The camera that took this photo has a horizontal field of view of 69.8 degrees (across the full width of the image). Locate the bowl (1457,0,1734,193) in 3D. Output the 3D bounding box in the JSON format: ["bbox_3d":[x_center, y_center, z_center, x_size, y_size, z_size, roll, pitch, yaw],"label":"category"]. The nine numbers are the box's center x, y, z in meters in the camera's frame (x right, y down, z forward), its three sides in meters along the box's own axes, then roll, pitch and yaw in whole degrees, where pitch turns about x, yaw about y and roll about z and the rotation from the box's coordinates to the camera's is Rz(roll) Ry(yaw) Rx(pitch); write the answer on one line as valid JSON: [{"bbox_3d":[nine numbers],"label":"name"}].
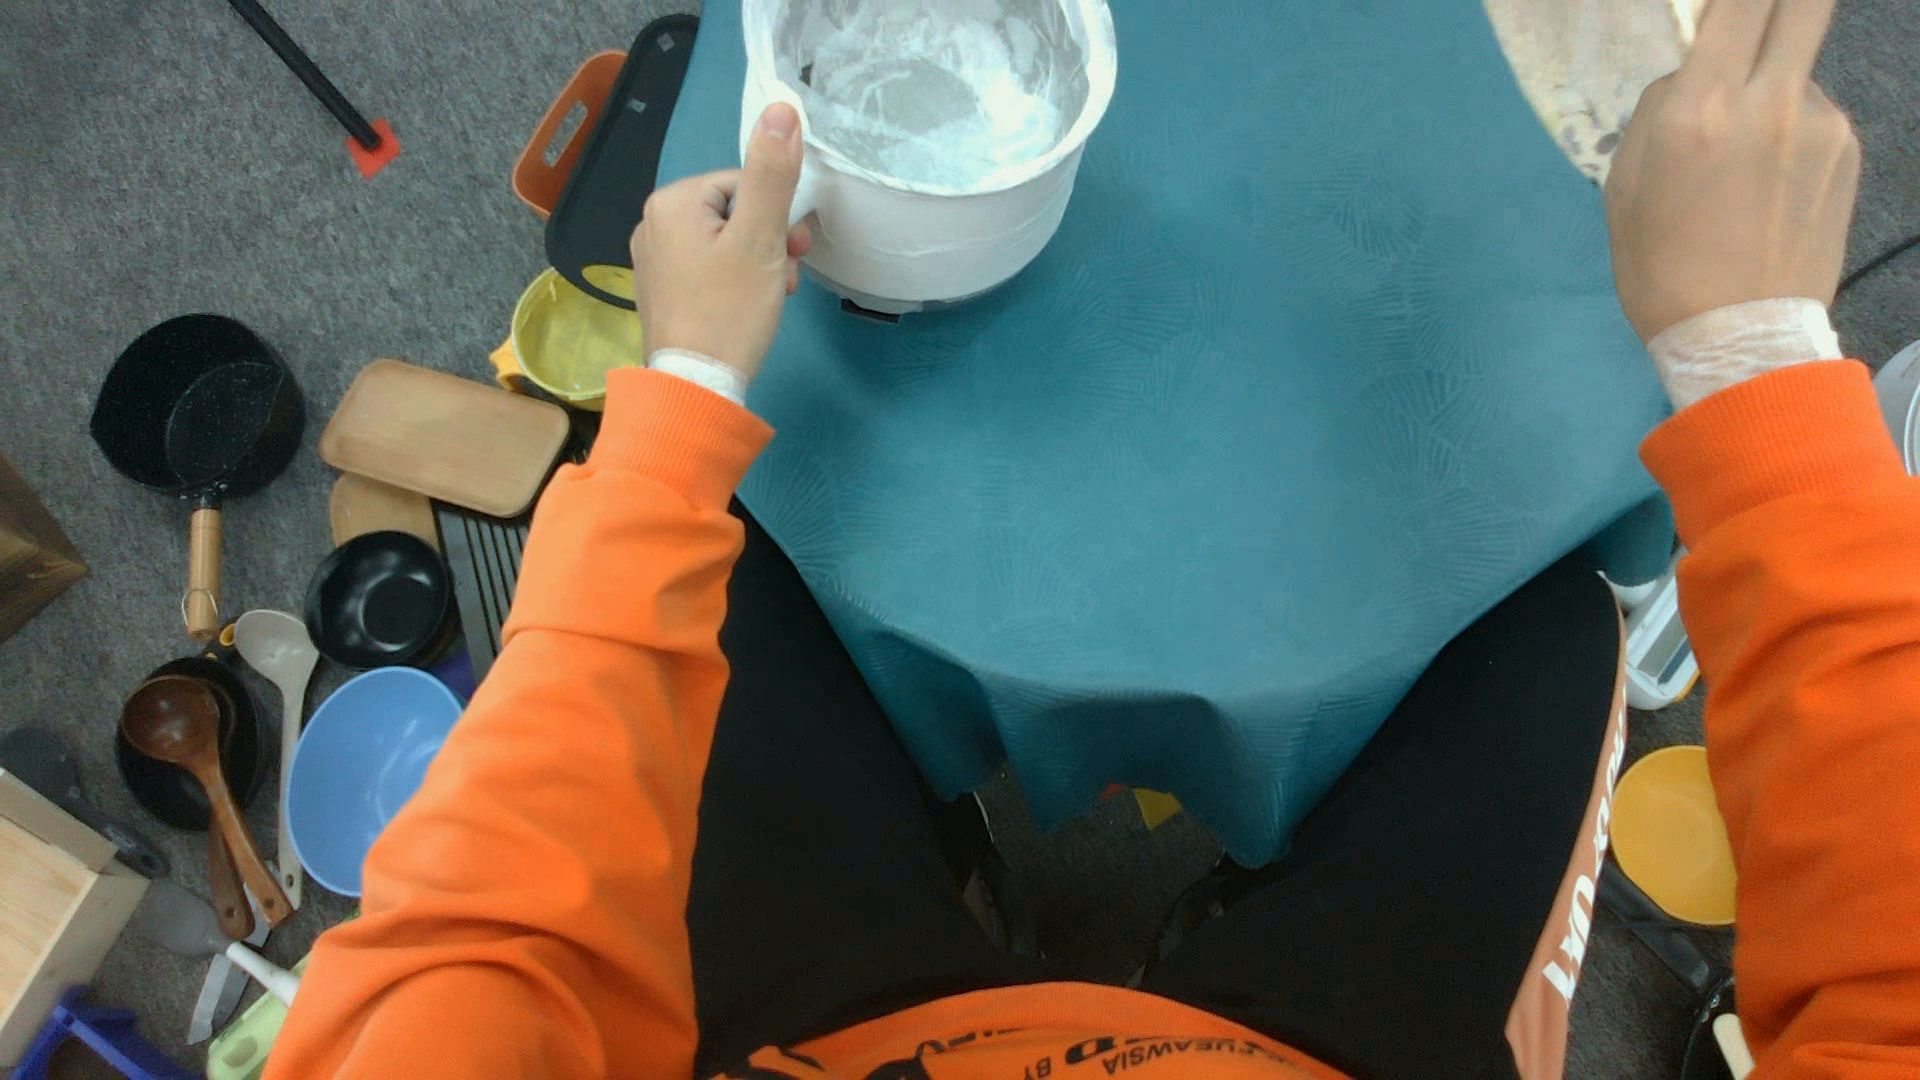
[{"bbox_3d":[0.276,-0.255,0.576,0.078,0.204,0.204,-27,72,8],"label":"bowl"}]

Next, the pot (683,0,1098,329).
[{"bbox_3d":[-0.048,-0.206,0.694,0.179,0.136,0.234,39,68,6],"label":"pot"}]
